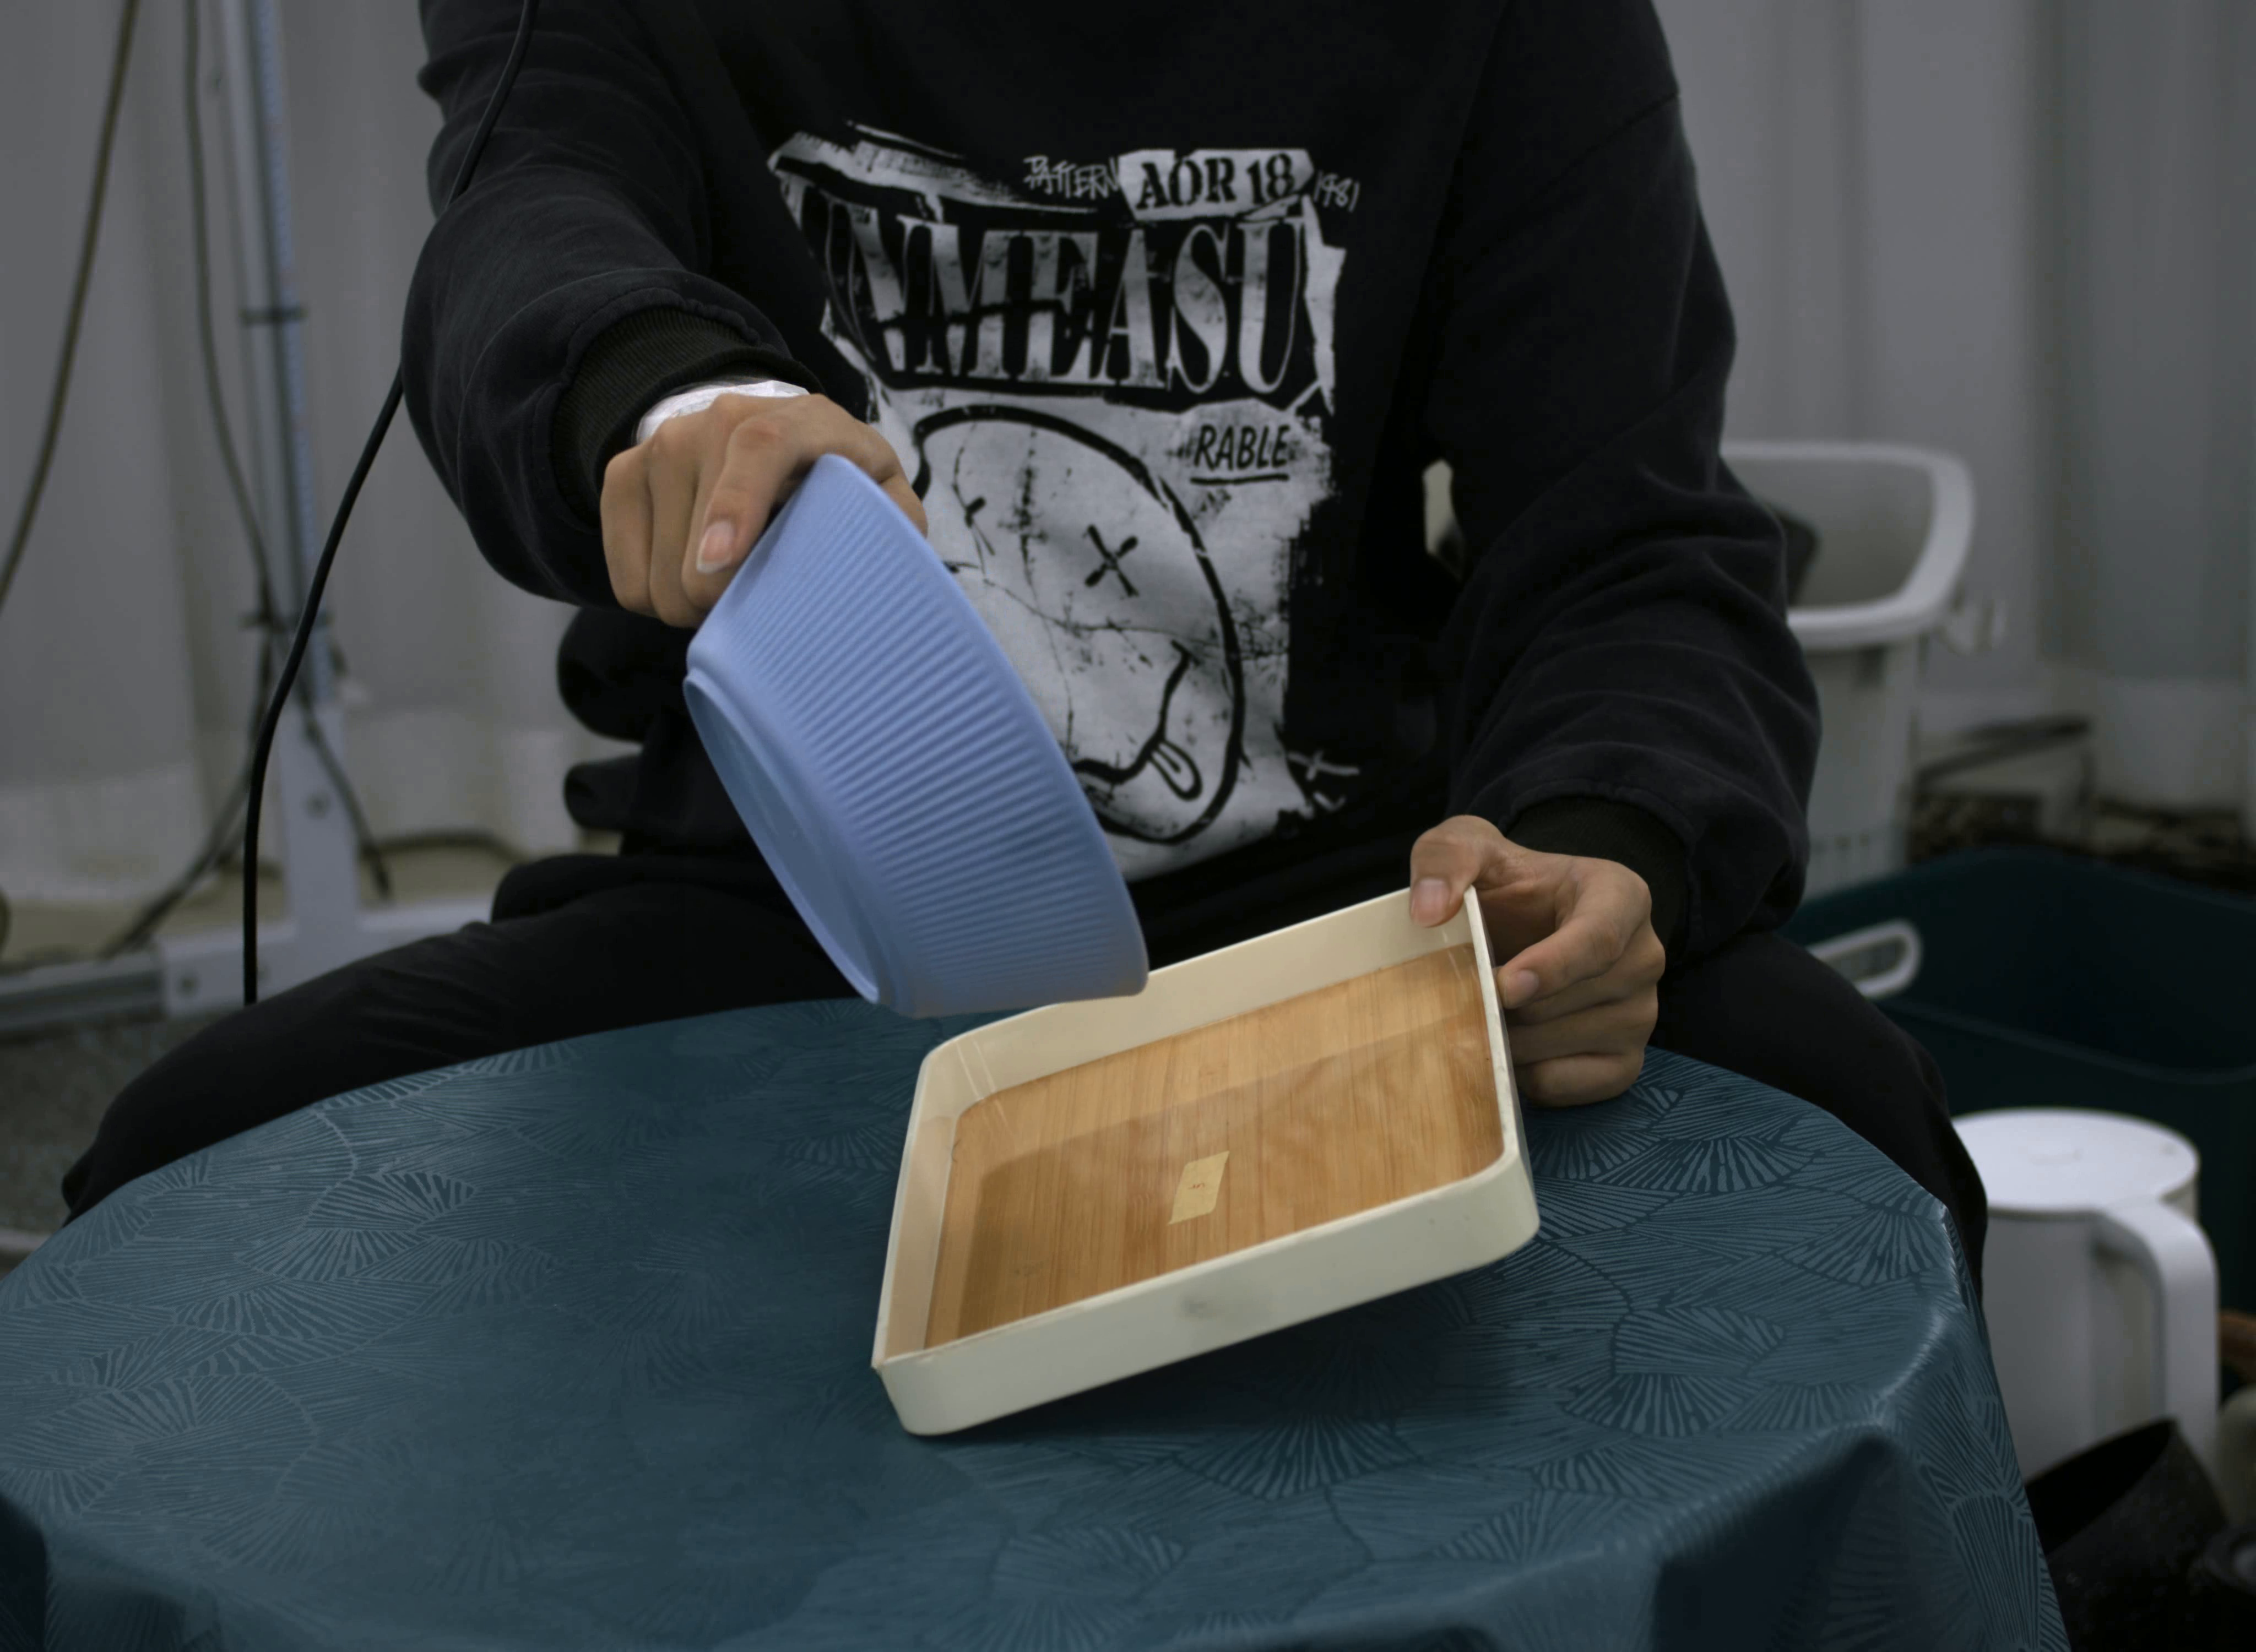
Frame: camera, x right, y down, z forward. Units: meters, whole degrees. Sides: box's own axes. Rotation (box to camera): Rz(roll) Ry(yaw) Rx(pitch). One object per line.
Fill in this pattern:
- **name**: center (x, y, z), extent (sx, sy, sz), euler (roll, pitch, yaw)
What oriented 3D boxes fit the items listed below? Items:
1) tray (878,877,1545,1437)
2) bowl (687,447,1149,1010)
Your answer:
- **tray**: center (0.025, 0.094, 1.642), extent (0.191, 0.027, 0.302), euler (-18, 14, 6)
- **bowl**: center (-0.068, -0.015, 1.541), extent (0.070, 0.174, 0.177), euler (-30, 21, -12)
